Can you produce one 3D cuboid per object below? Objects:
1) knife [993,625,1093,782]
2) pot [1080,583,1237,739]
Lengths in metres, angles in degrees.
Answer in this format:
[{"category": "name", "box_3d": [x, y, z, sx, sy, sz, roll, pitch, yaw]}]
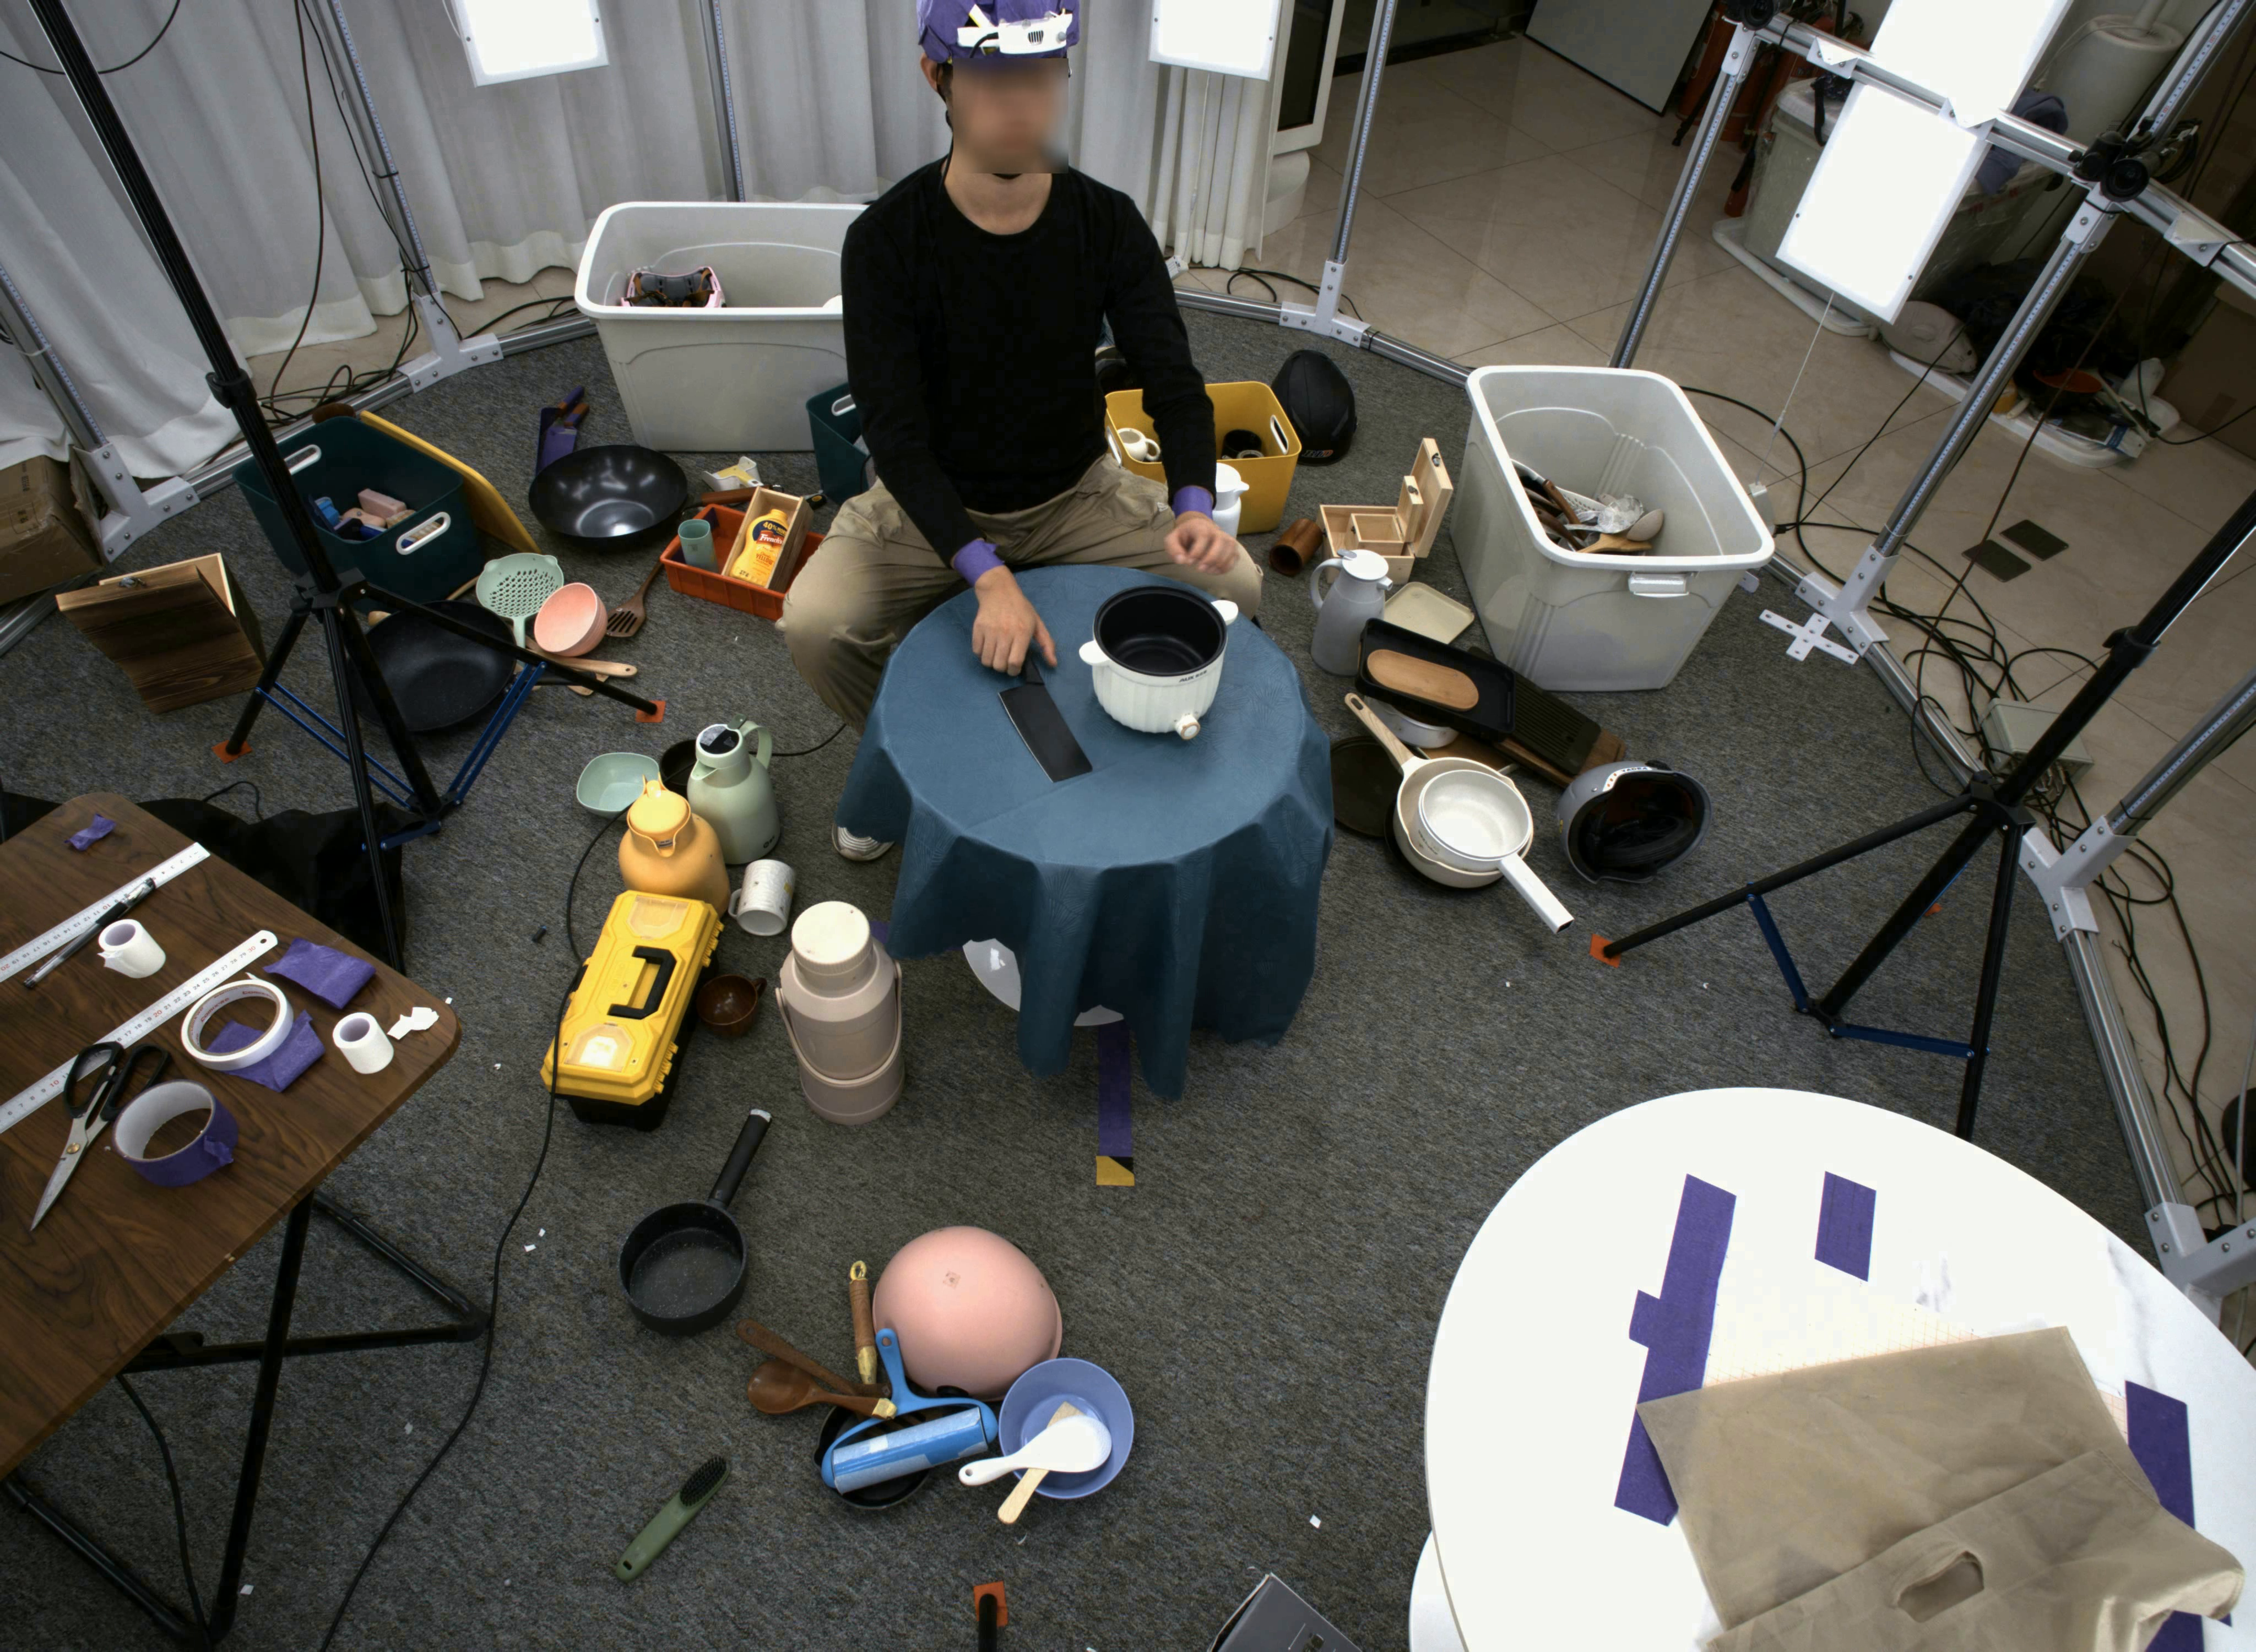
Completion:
[{"category": "knife", "box_3d": [-0.134, -0.177, 1.806, 0.081, 0.020, 0.309, -14, 53, -15]}, {"category": "pot", "box_3d": [0.044, -0.221, 1.775, 0.241, 0.139, 0.194, -22, 51, -20]}]
